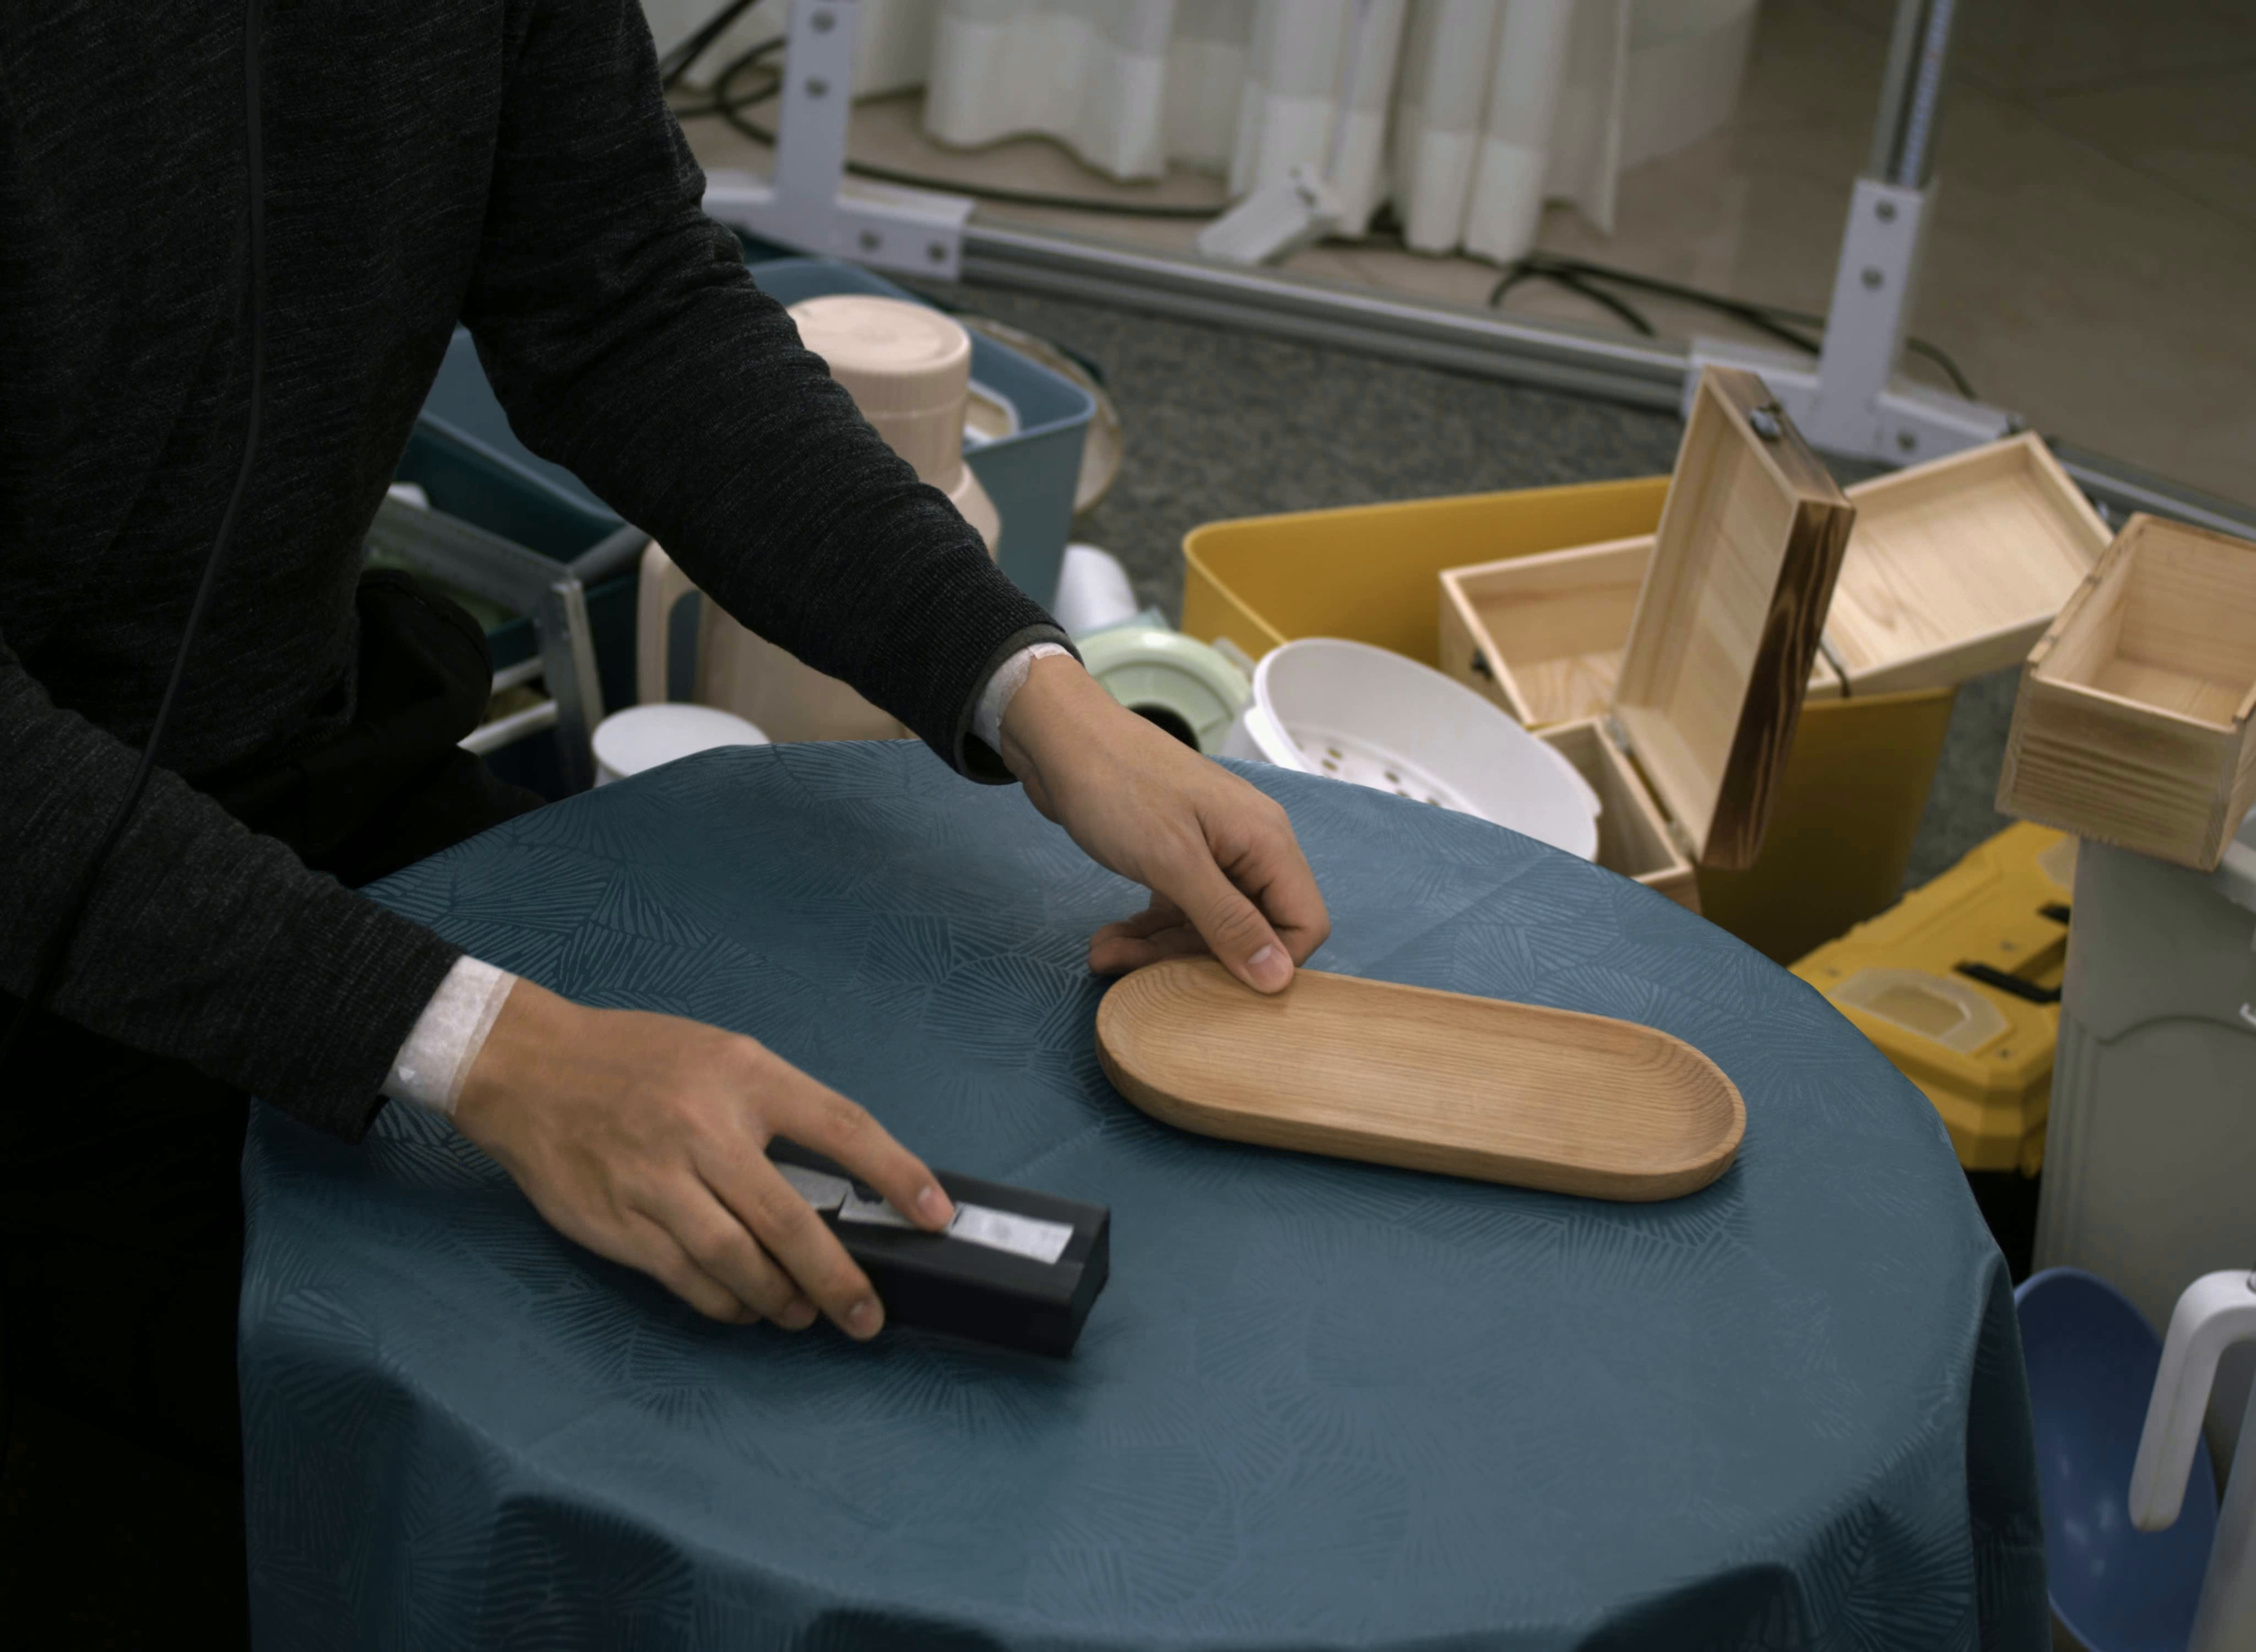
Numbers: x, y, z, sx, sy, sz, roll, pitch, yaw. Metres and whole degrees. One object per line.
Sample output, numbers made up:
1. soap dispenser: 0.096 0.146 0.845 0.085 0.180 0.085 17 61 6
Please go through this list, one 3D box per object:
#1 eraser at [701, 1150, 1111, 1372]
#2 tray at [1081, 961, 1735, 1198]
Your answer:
1. eraser: -0.070 0.139 1.703 0.125 0.030 0.054 11 33 11
2. tray: 0.098 0.089 1.866 0.230 0.020 0.102 7 28 2
